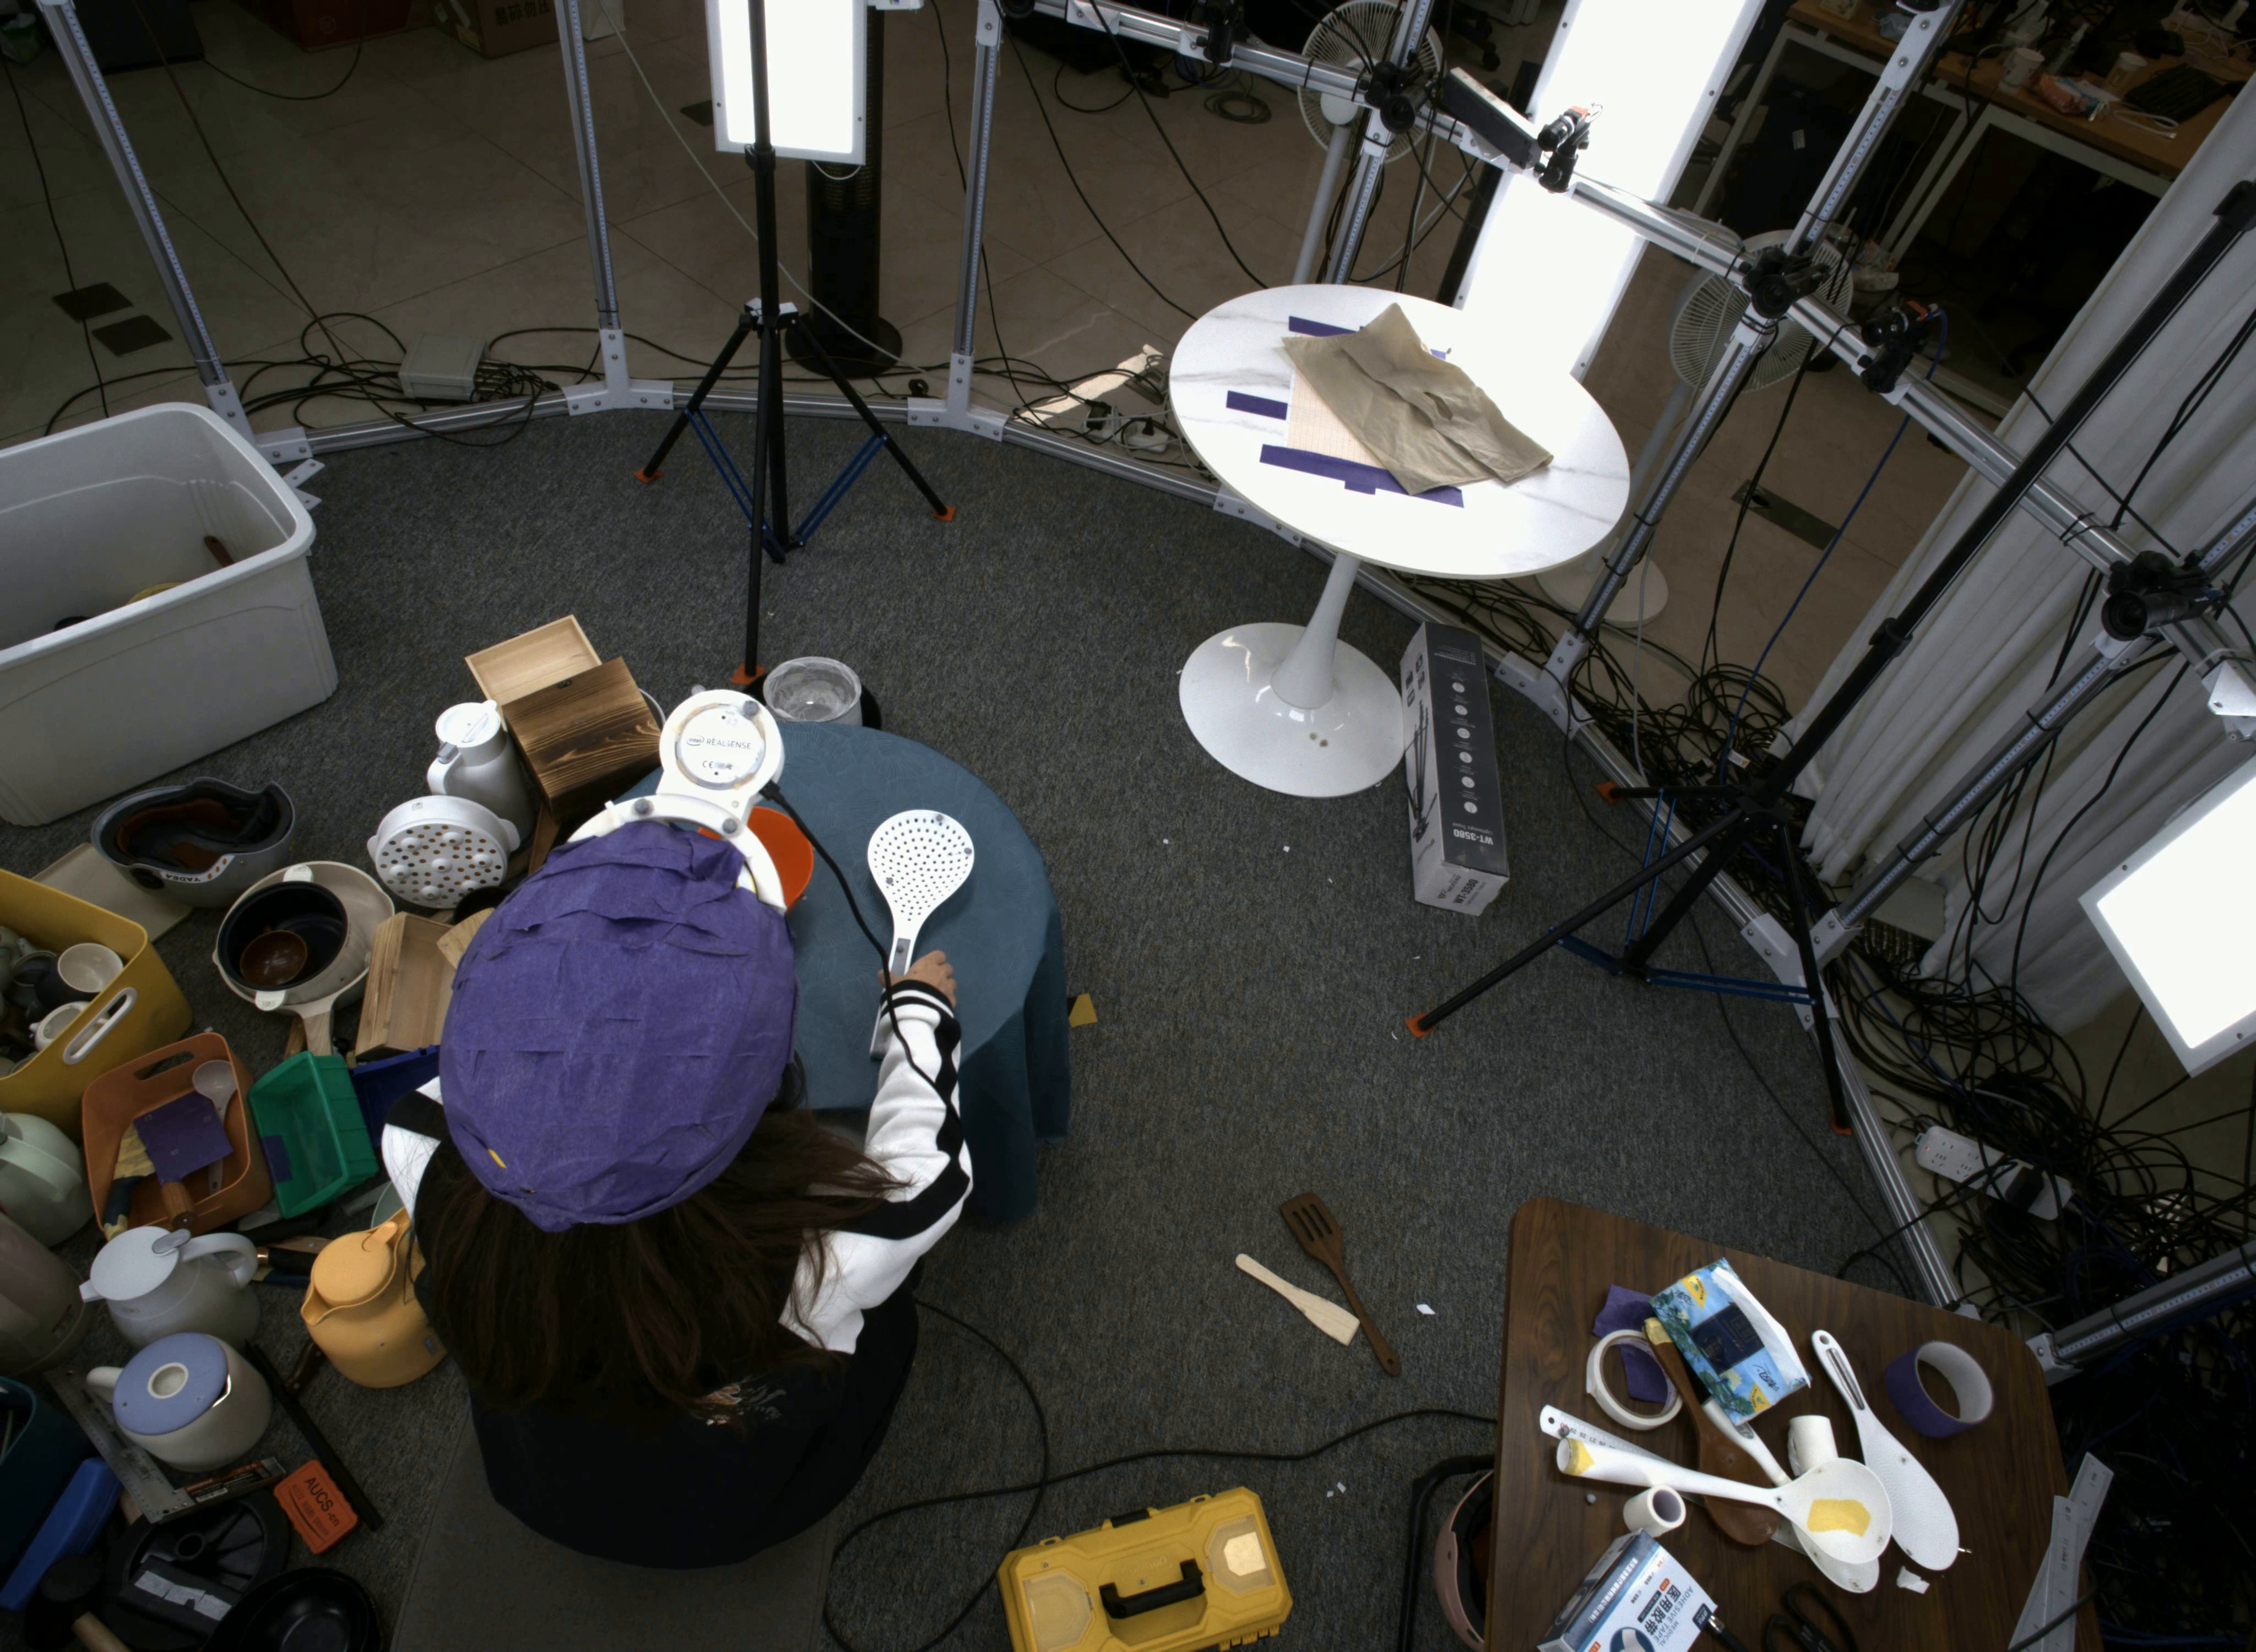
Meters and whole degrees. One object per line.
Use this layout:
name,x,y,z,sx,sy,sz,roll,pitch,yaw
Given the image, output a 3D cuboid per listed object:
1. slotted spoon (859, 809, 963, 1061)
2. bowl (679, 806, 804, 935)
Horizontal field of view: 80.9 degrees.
slotted spoon,-0.289,0.128,1.629,0.135,0.047,0.344,9,53,-6
bowl,-0.474,0.065,1.590,0.148,0.106,0.145,10,51,-10
